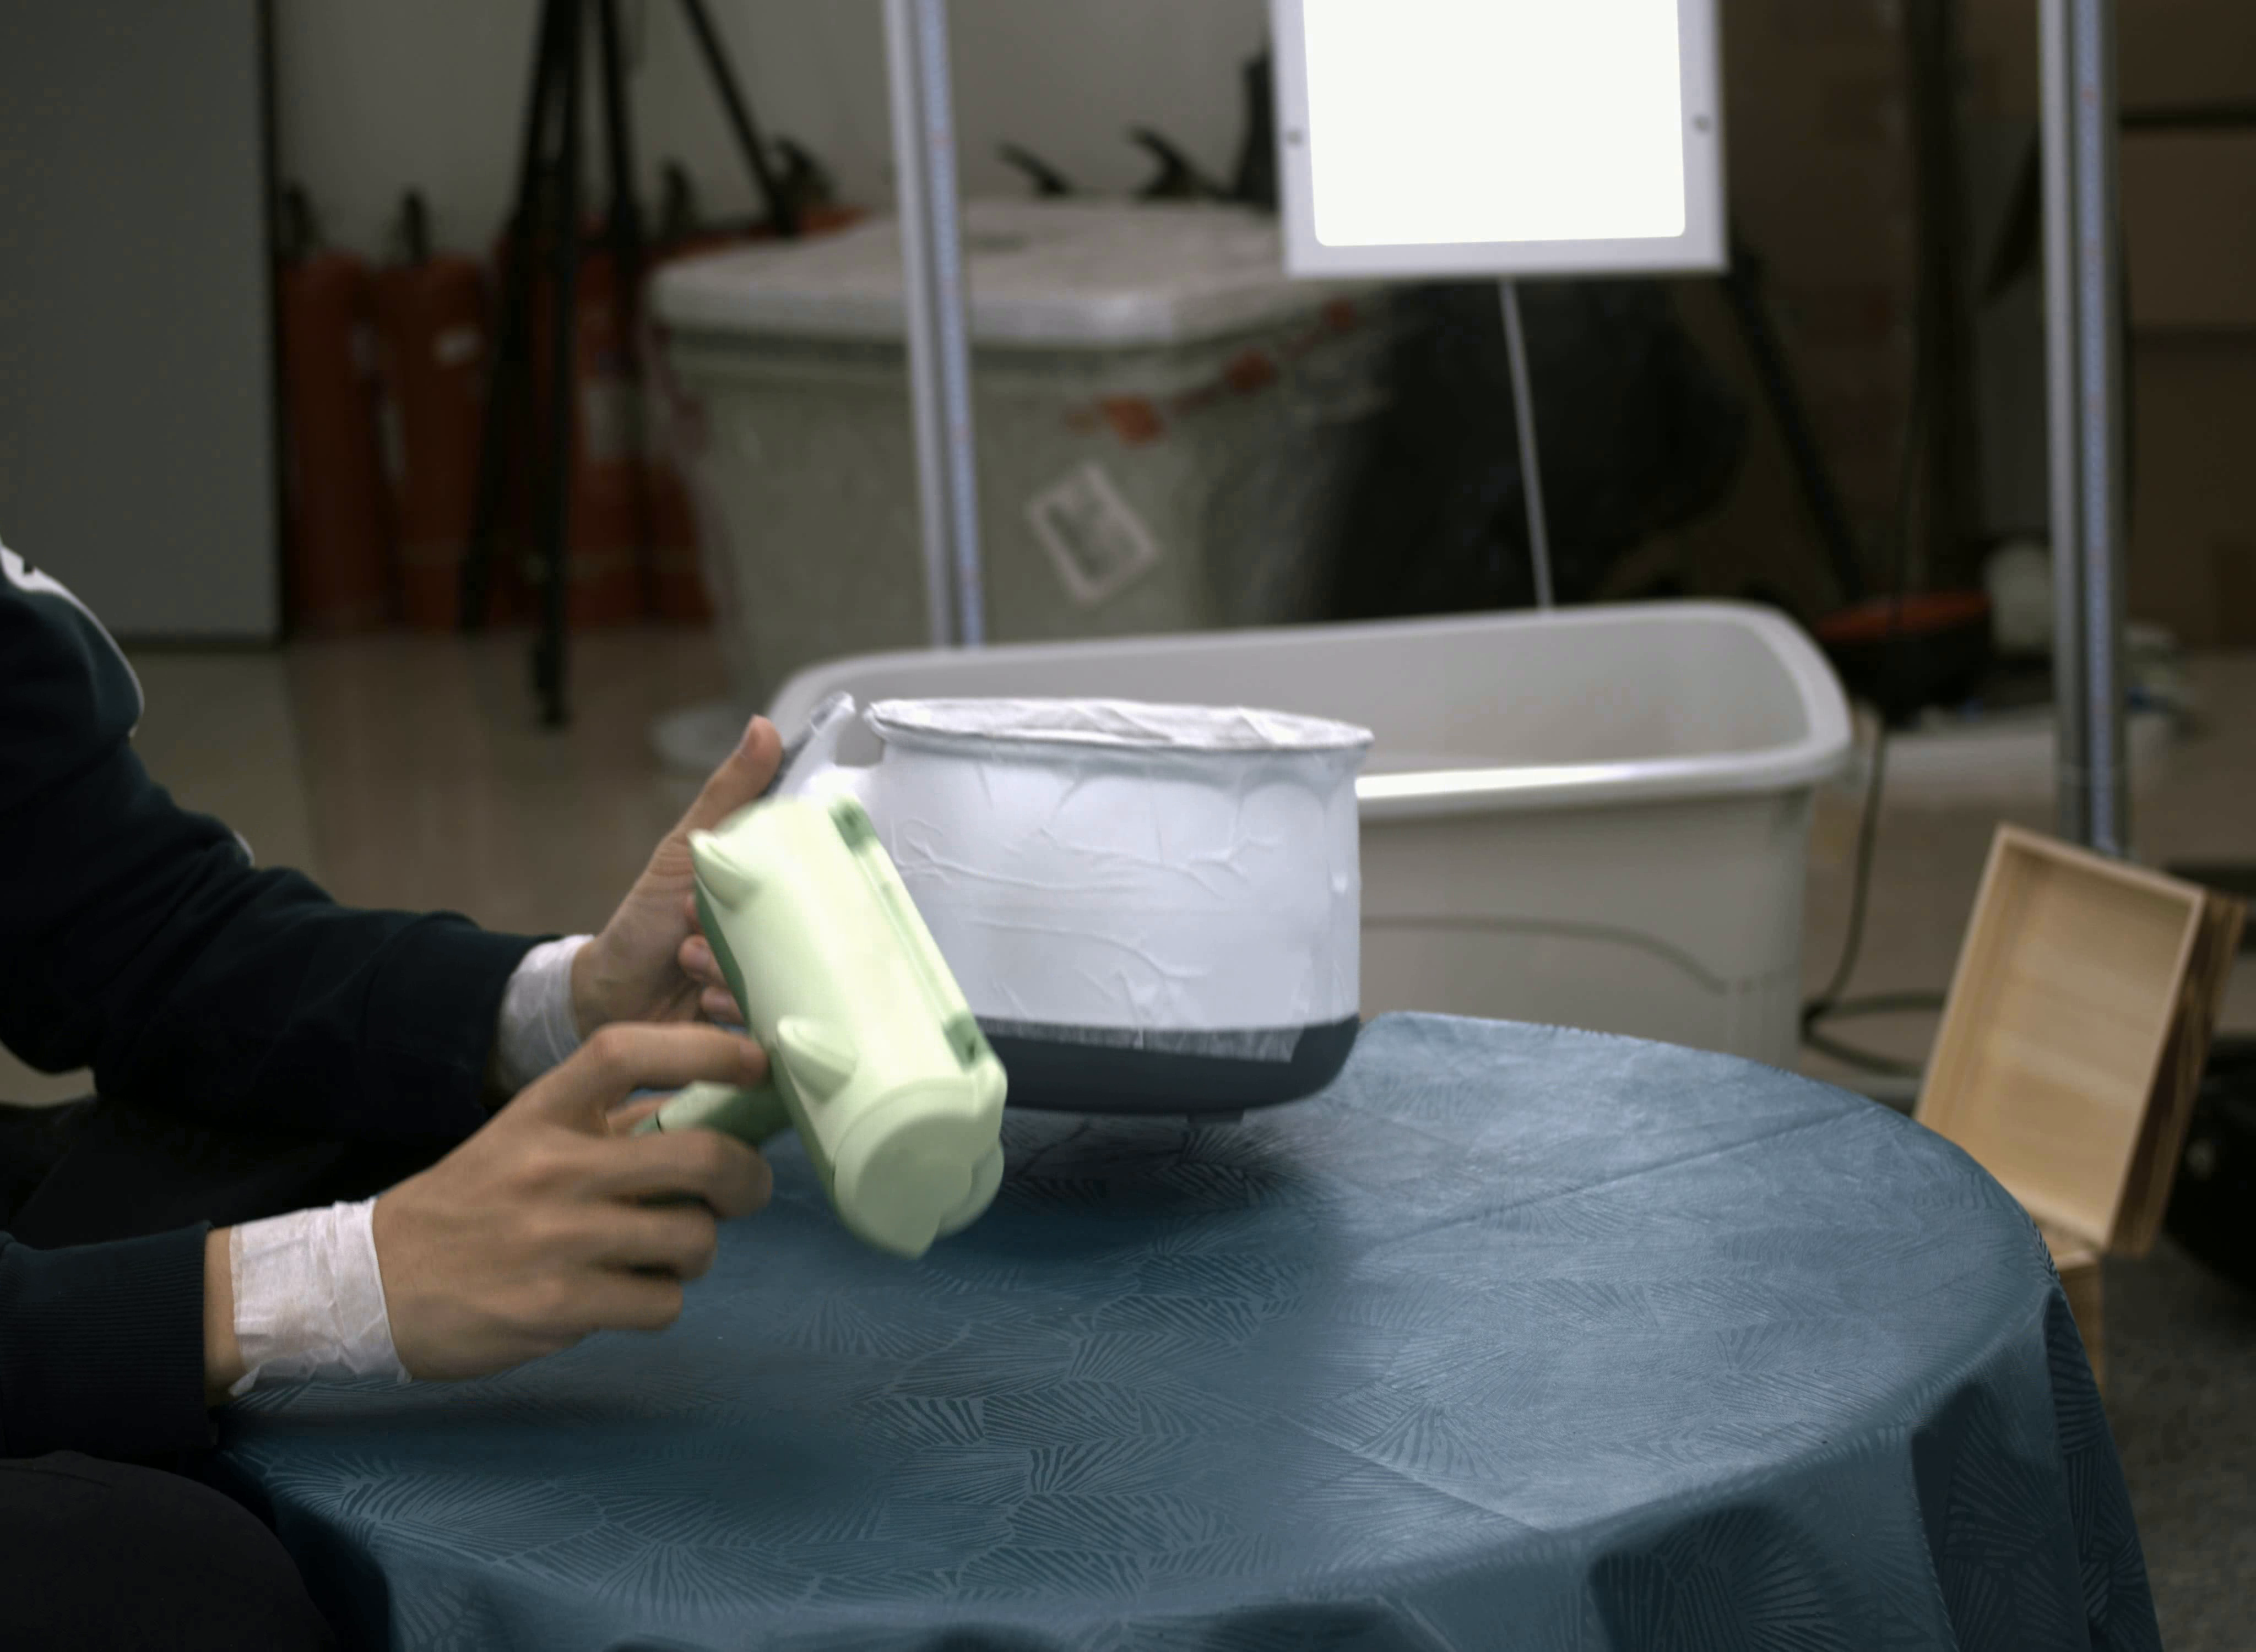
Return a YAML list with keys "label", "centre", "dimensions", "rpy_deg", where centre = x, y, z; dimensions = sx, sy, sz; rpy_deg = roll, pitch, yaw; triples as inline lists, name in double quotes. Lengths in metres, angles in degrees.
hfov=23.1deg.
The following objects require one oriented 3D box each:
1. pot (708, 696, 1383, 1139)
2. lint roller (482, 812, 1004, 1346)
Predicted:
- label: "pot"
  centre: [-0.031, 0.028, 1.915]
  dimensions: [0.235, 0.137, 0.177]
  rpy_deg: [4, 5, 11]
- label: "lint roller"
  centre: [-0.136, 0.088, 1.702]
  dimensions: [0.183, 0.081, 0.200]
  rpy_deg: [-32, 32, 3]
